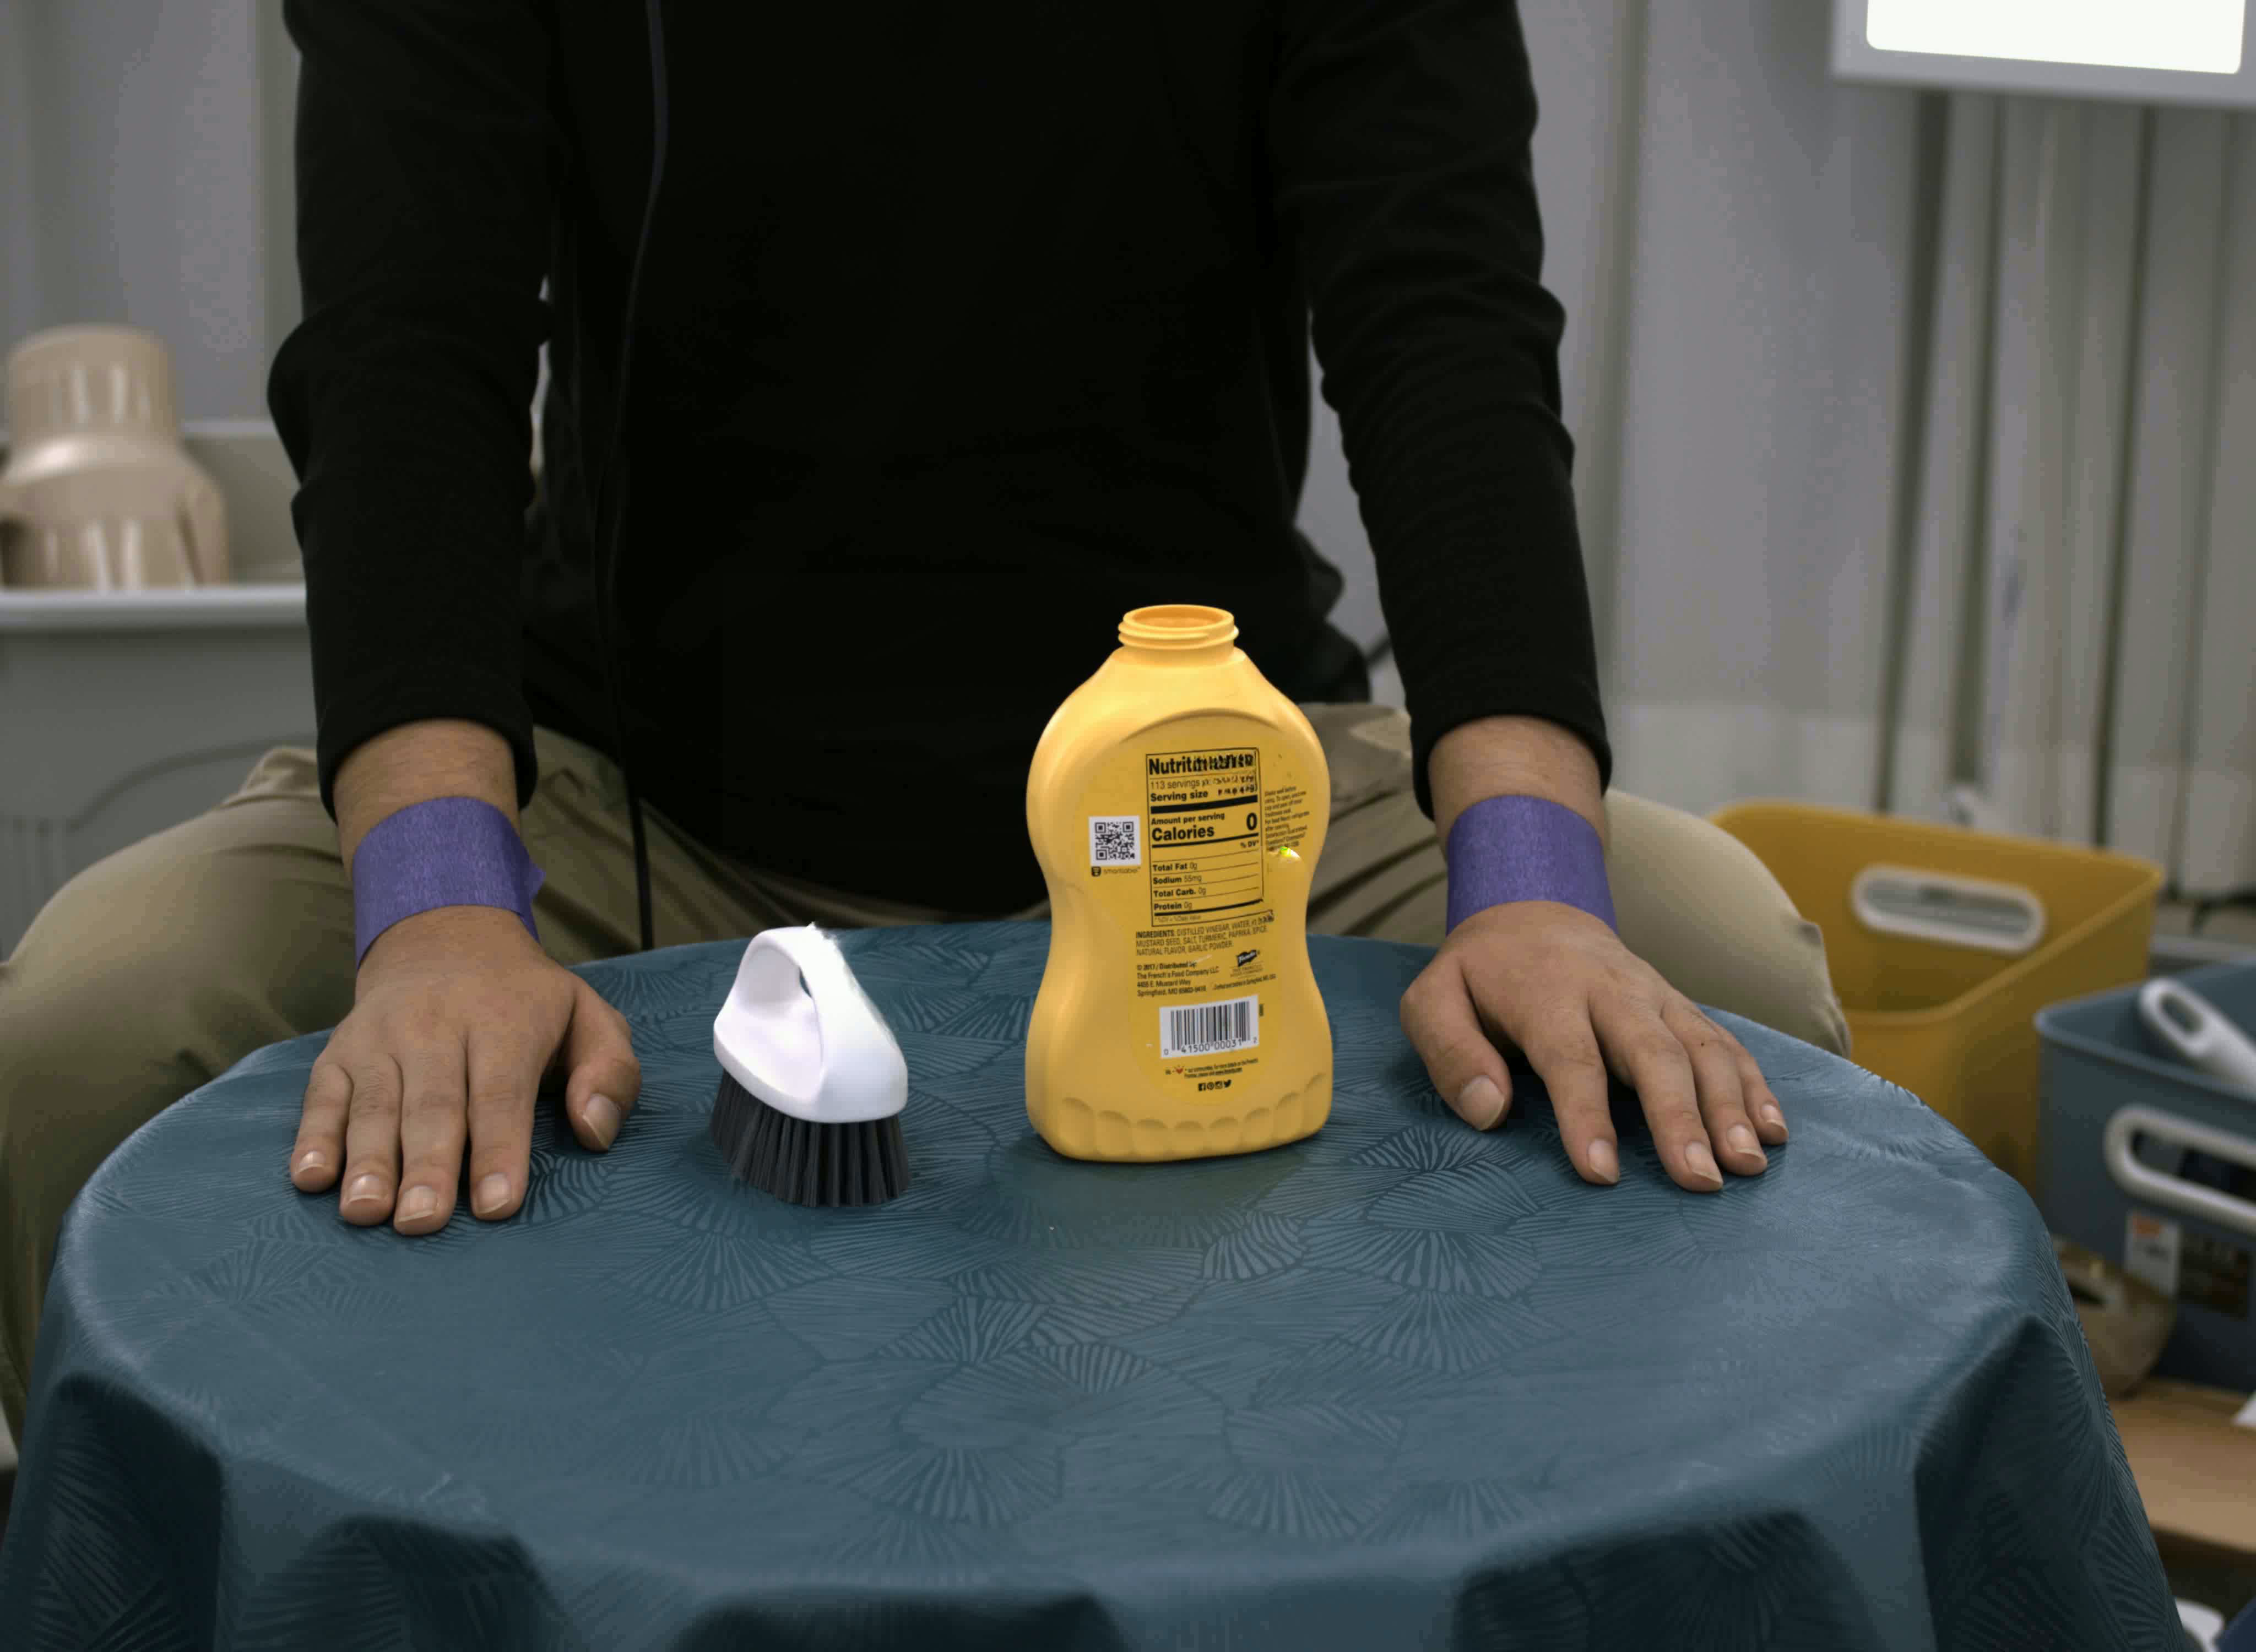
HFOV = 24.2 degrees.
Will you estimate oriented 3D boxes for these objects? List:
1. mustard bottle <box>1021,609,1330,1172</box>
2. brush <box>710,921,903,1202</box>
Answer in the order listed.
[{"bbox_3d":[0.014,0.019,1.645,0.098,0.173,0.059,-7,13,-21],"label":"mustard bottle"},{"bbox_3d":[-0.101,0.068,1.638,0.050,0.073,0.098,-4,18,-19],"label":"brush"}]
